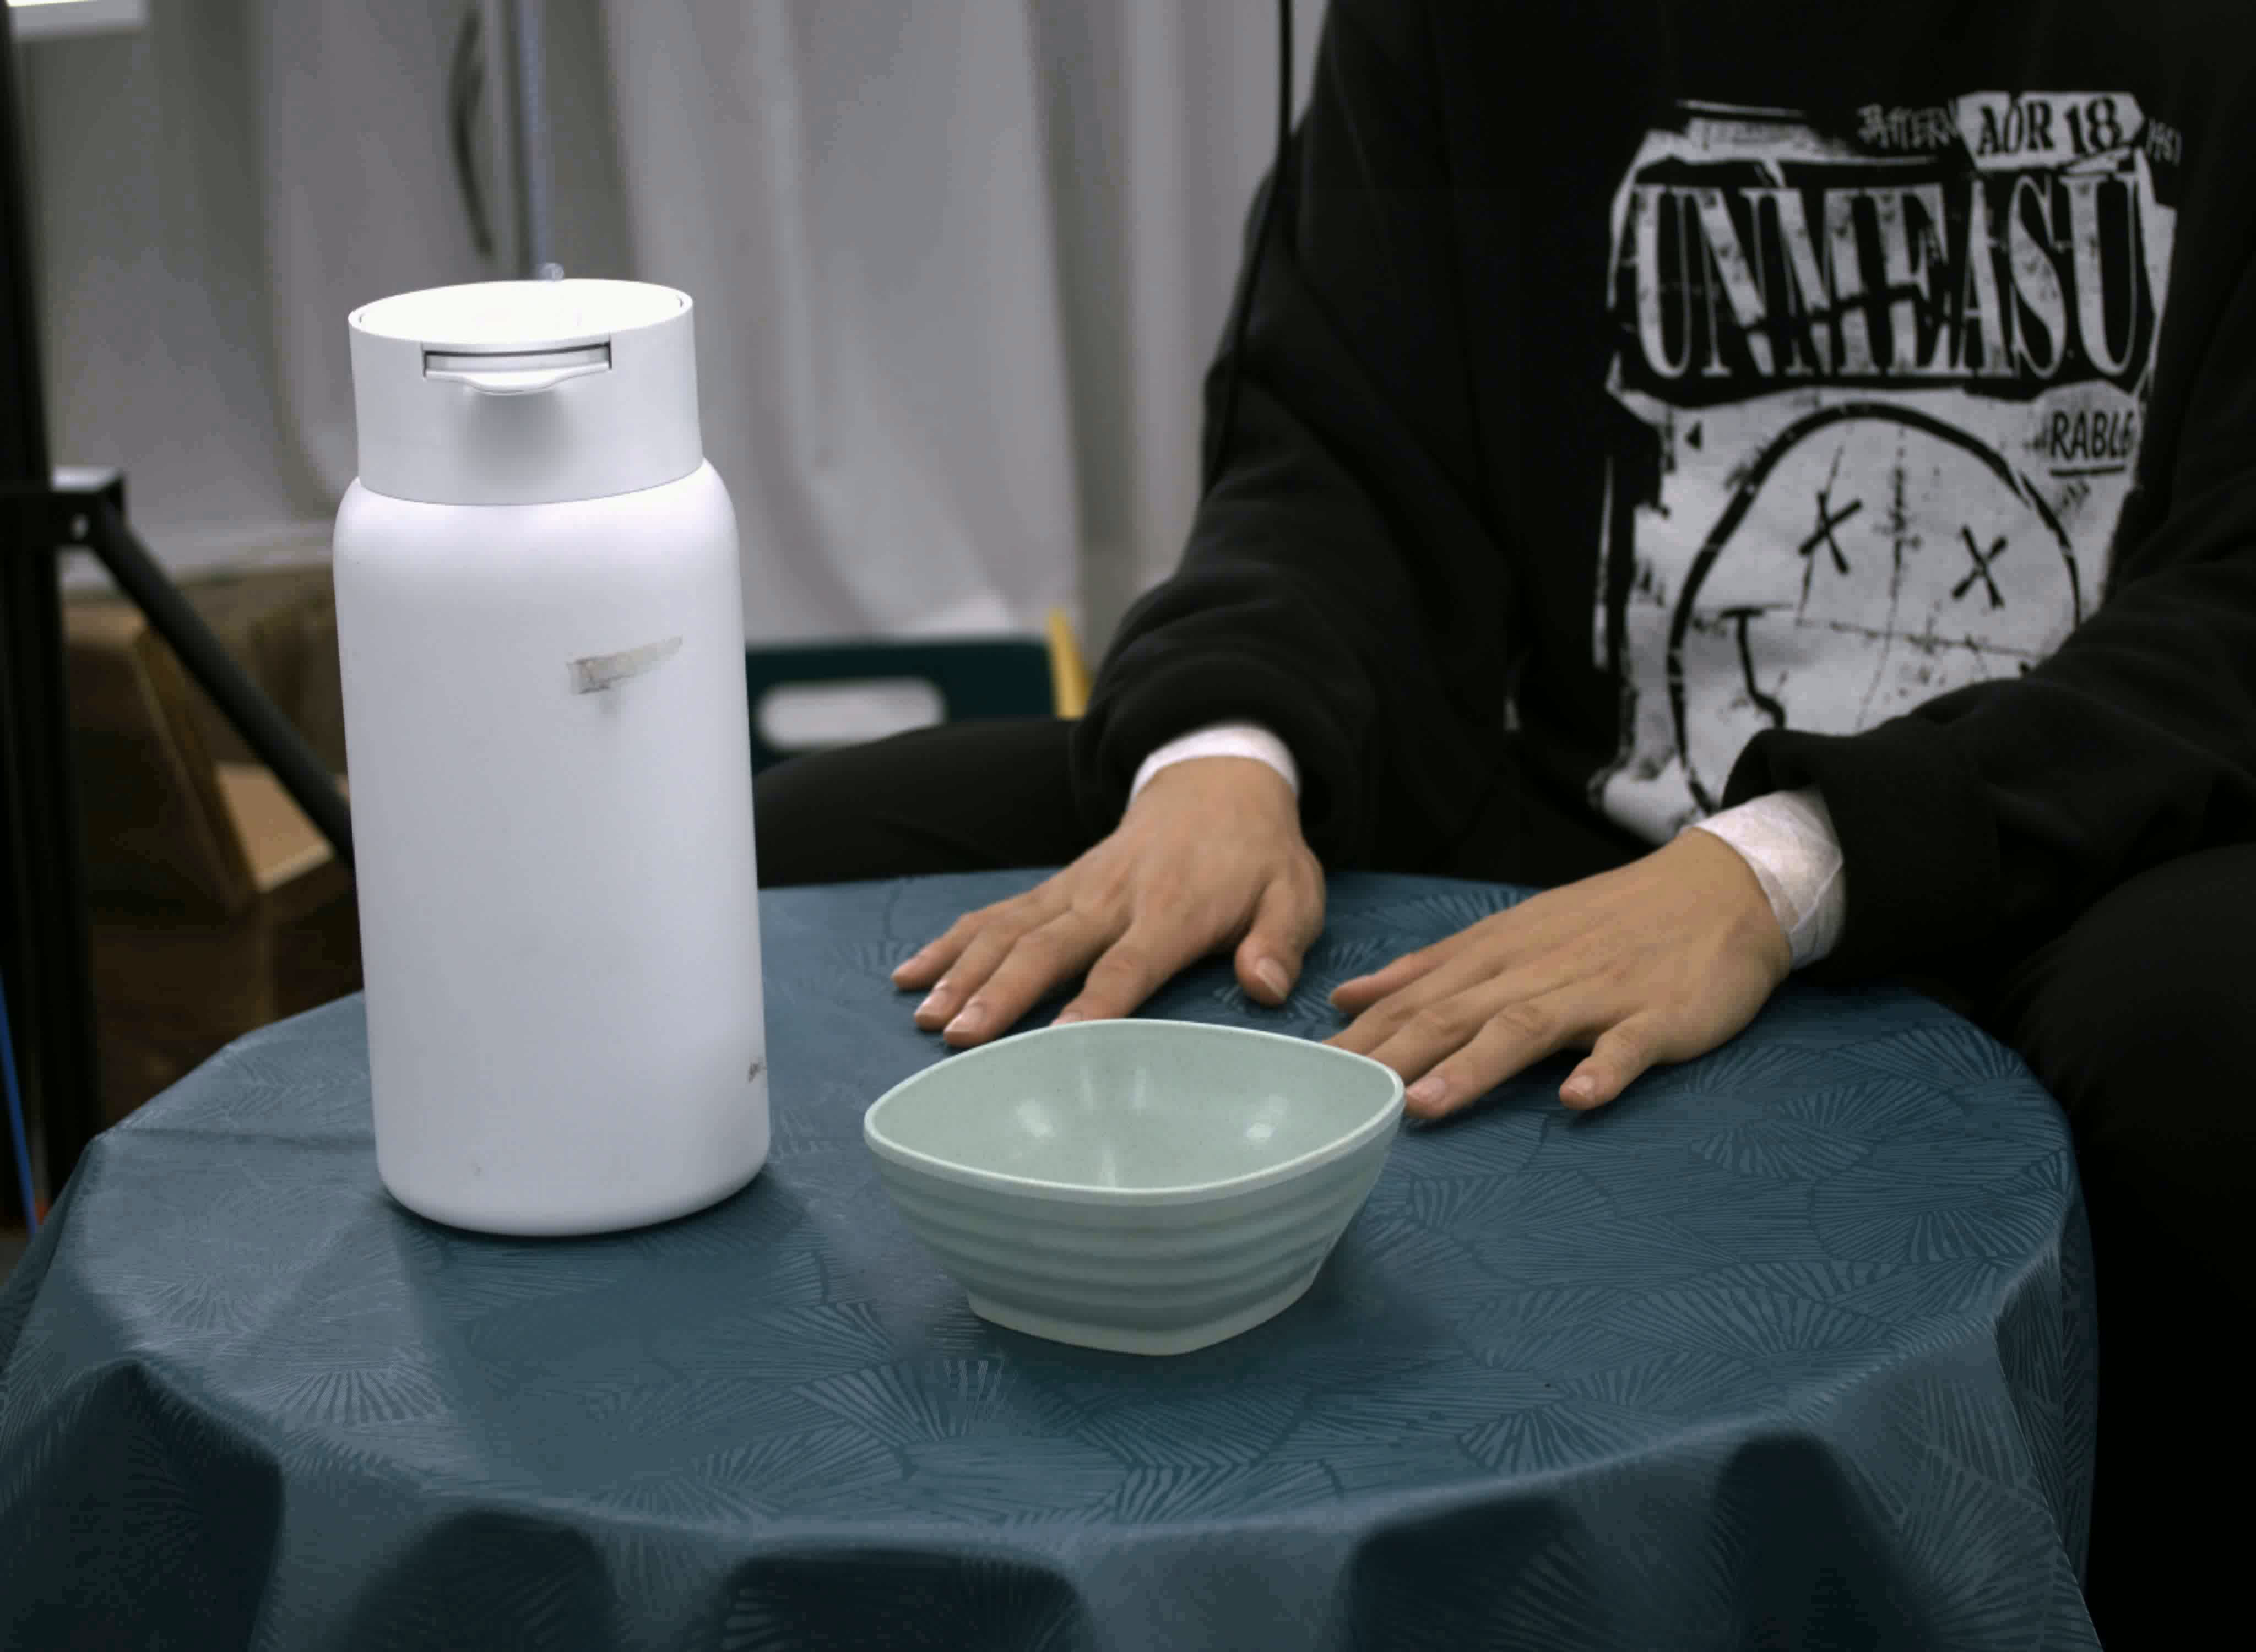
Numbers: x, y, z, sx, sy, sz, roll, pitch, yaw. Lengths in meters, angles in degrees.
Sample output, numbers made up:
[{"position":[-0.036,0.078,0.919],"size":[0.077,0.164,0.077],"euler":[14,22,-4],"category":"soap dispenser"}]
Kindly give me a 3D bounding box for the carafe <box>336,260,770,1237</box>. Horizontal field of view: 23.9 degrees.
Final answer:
[{"position":[-0.170,-0.027,1.572],"size":[0.123,0.269,0.174],"euler":[-5,15,-3],"category":"carafe"}]

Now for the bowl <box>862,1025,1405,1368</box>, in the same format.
[{"position":[0.003,0.105,1.467],"size":[0.150,0.058,0.152],"euler":[-2,16,-1],"category":"bowl"}]
